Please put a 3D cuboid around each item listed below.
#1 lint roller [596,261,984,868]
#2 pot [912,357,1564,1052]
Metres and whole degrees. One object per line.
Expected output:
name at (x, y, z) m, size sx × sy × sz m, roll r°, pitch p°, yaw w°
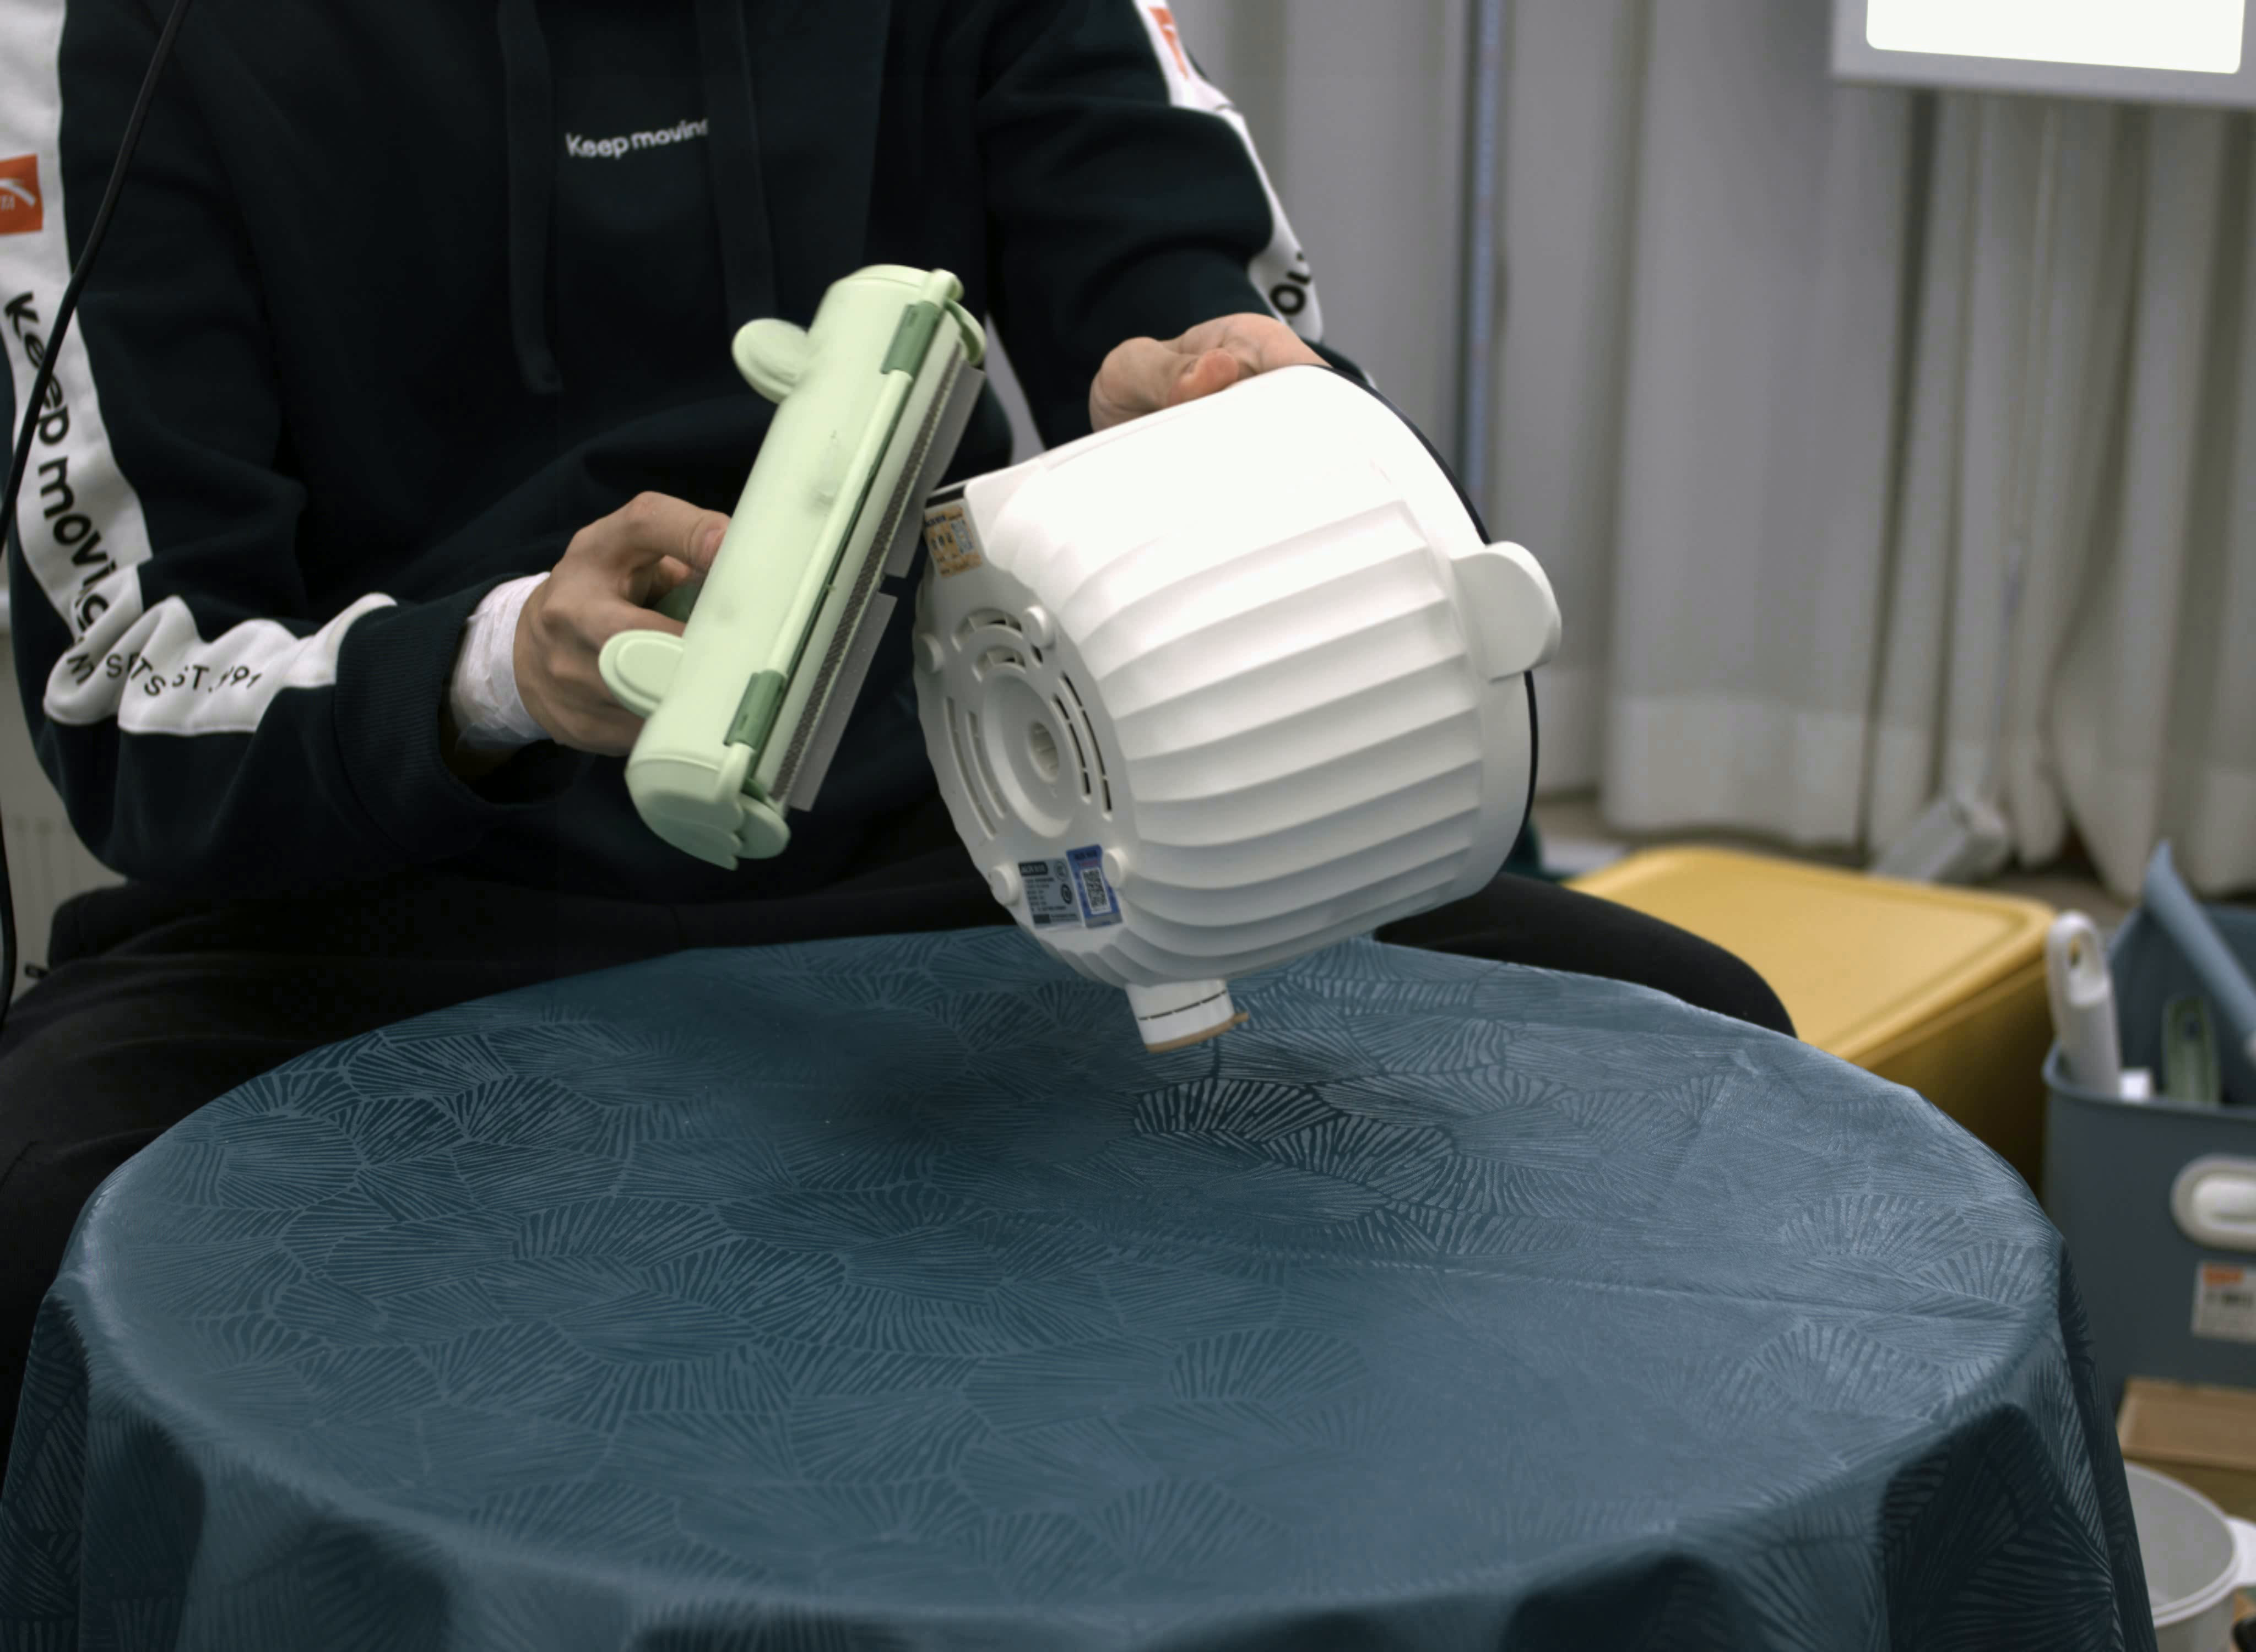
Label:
lint roller at (-0.135, -0.078, 1.670) m, size 0.083 × 0.198 × 0.182 m, roll 33°, pitch -26°, yaw -26°
pot at (0.023, -0.037, 1.662) m, size 0.143 × 0.191 × 0.238 m, roll -24°, pitch 8°, yaw -27°
